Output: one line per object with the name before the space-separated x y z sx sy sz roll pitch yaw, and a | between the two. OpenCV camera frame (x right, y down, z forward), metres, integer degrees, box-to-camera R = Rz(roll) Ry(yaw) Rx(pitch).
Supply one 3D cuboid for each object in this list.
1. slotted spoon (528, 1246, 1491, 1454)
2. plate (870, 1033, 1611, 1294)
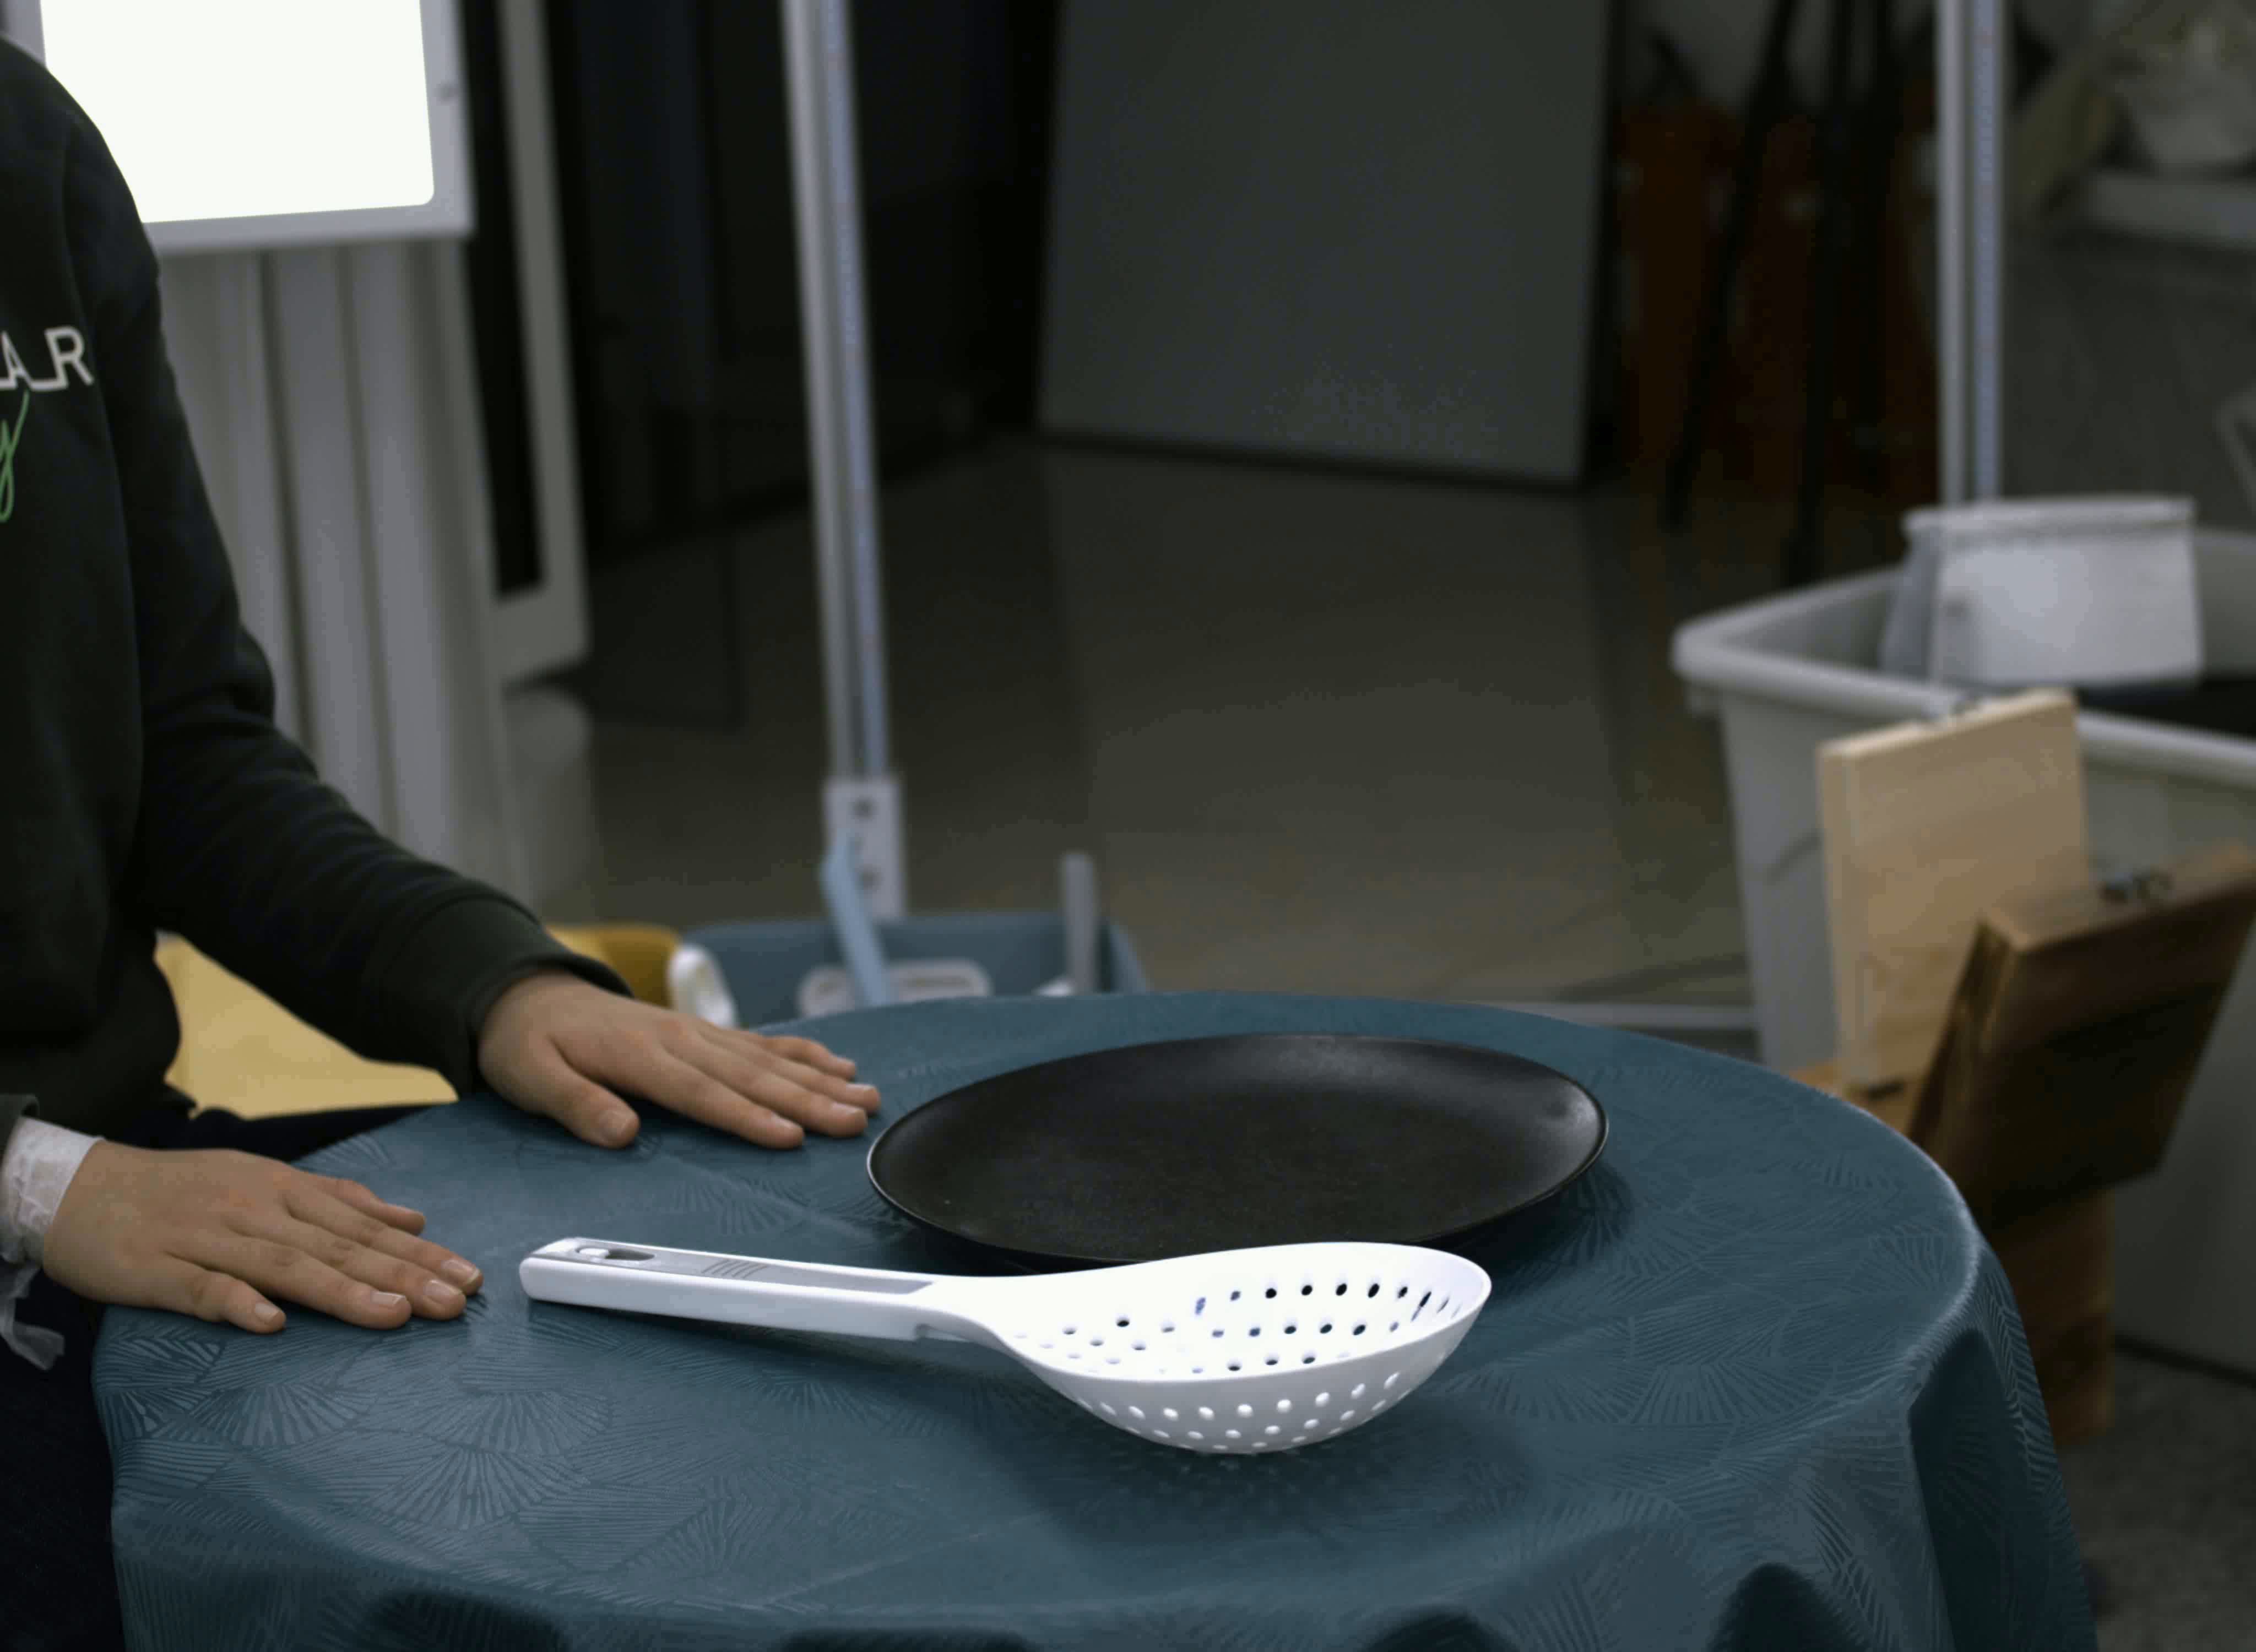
slotted spoon | -0.047 0.144 1.599 0.352 0.046 0.133 6 15 38
plate | 0.037 0.112 1.748 0.241 0.024 0.245 -4 14 0
